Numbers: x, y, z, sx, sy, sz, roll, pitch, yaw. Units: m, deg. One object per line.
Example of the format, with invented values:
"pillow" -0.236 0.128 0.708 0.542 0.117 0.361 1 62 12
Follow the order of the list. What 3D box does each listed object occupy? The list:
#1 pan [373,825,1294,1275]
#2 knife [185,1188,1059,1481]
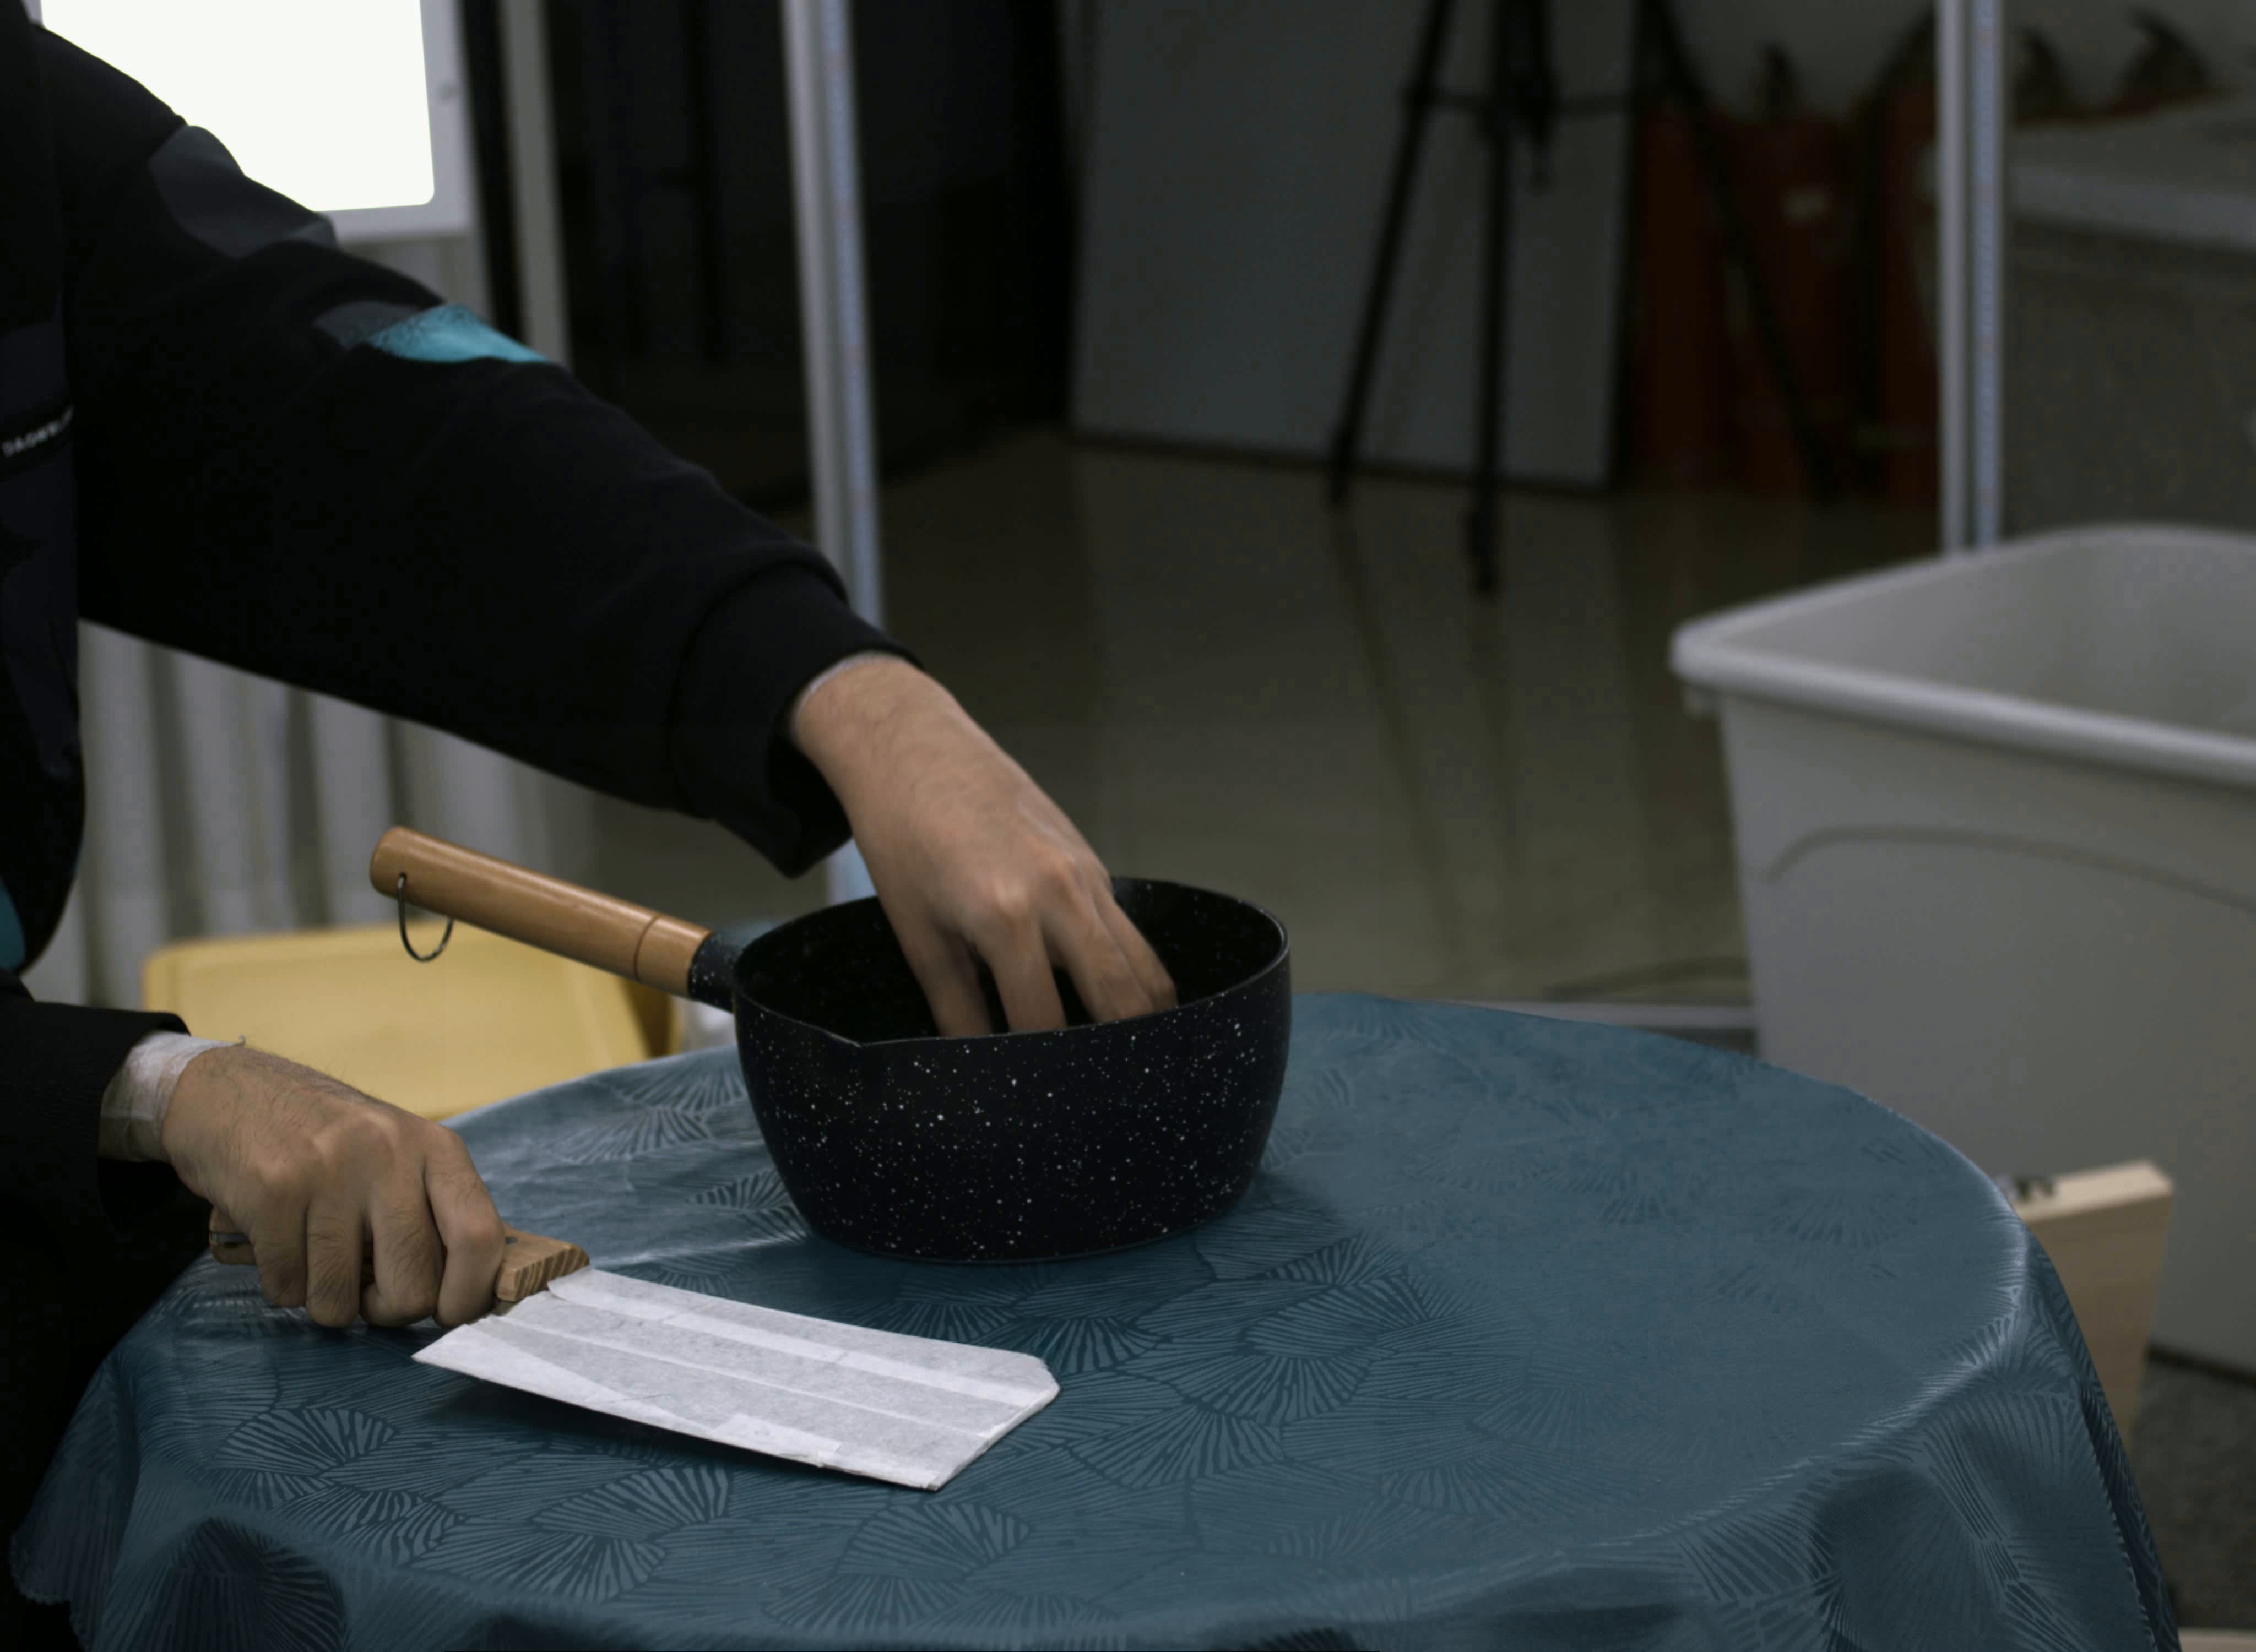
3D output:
"pan" -0.106 0.066 1.798 0.343 0.109 0.205 4 17 27
"knife" -0.161 0.152 1.636 0.317 0.022 0.112 11 19 33
